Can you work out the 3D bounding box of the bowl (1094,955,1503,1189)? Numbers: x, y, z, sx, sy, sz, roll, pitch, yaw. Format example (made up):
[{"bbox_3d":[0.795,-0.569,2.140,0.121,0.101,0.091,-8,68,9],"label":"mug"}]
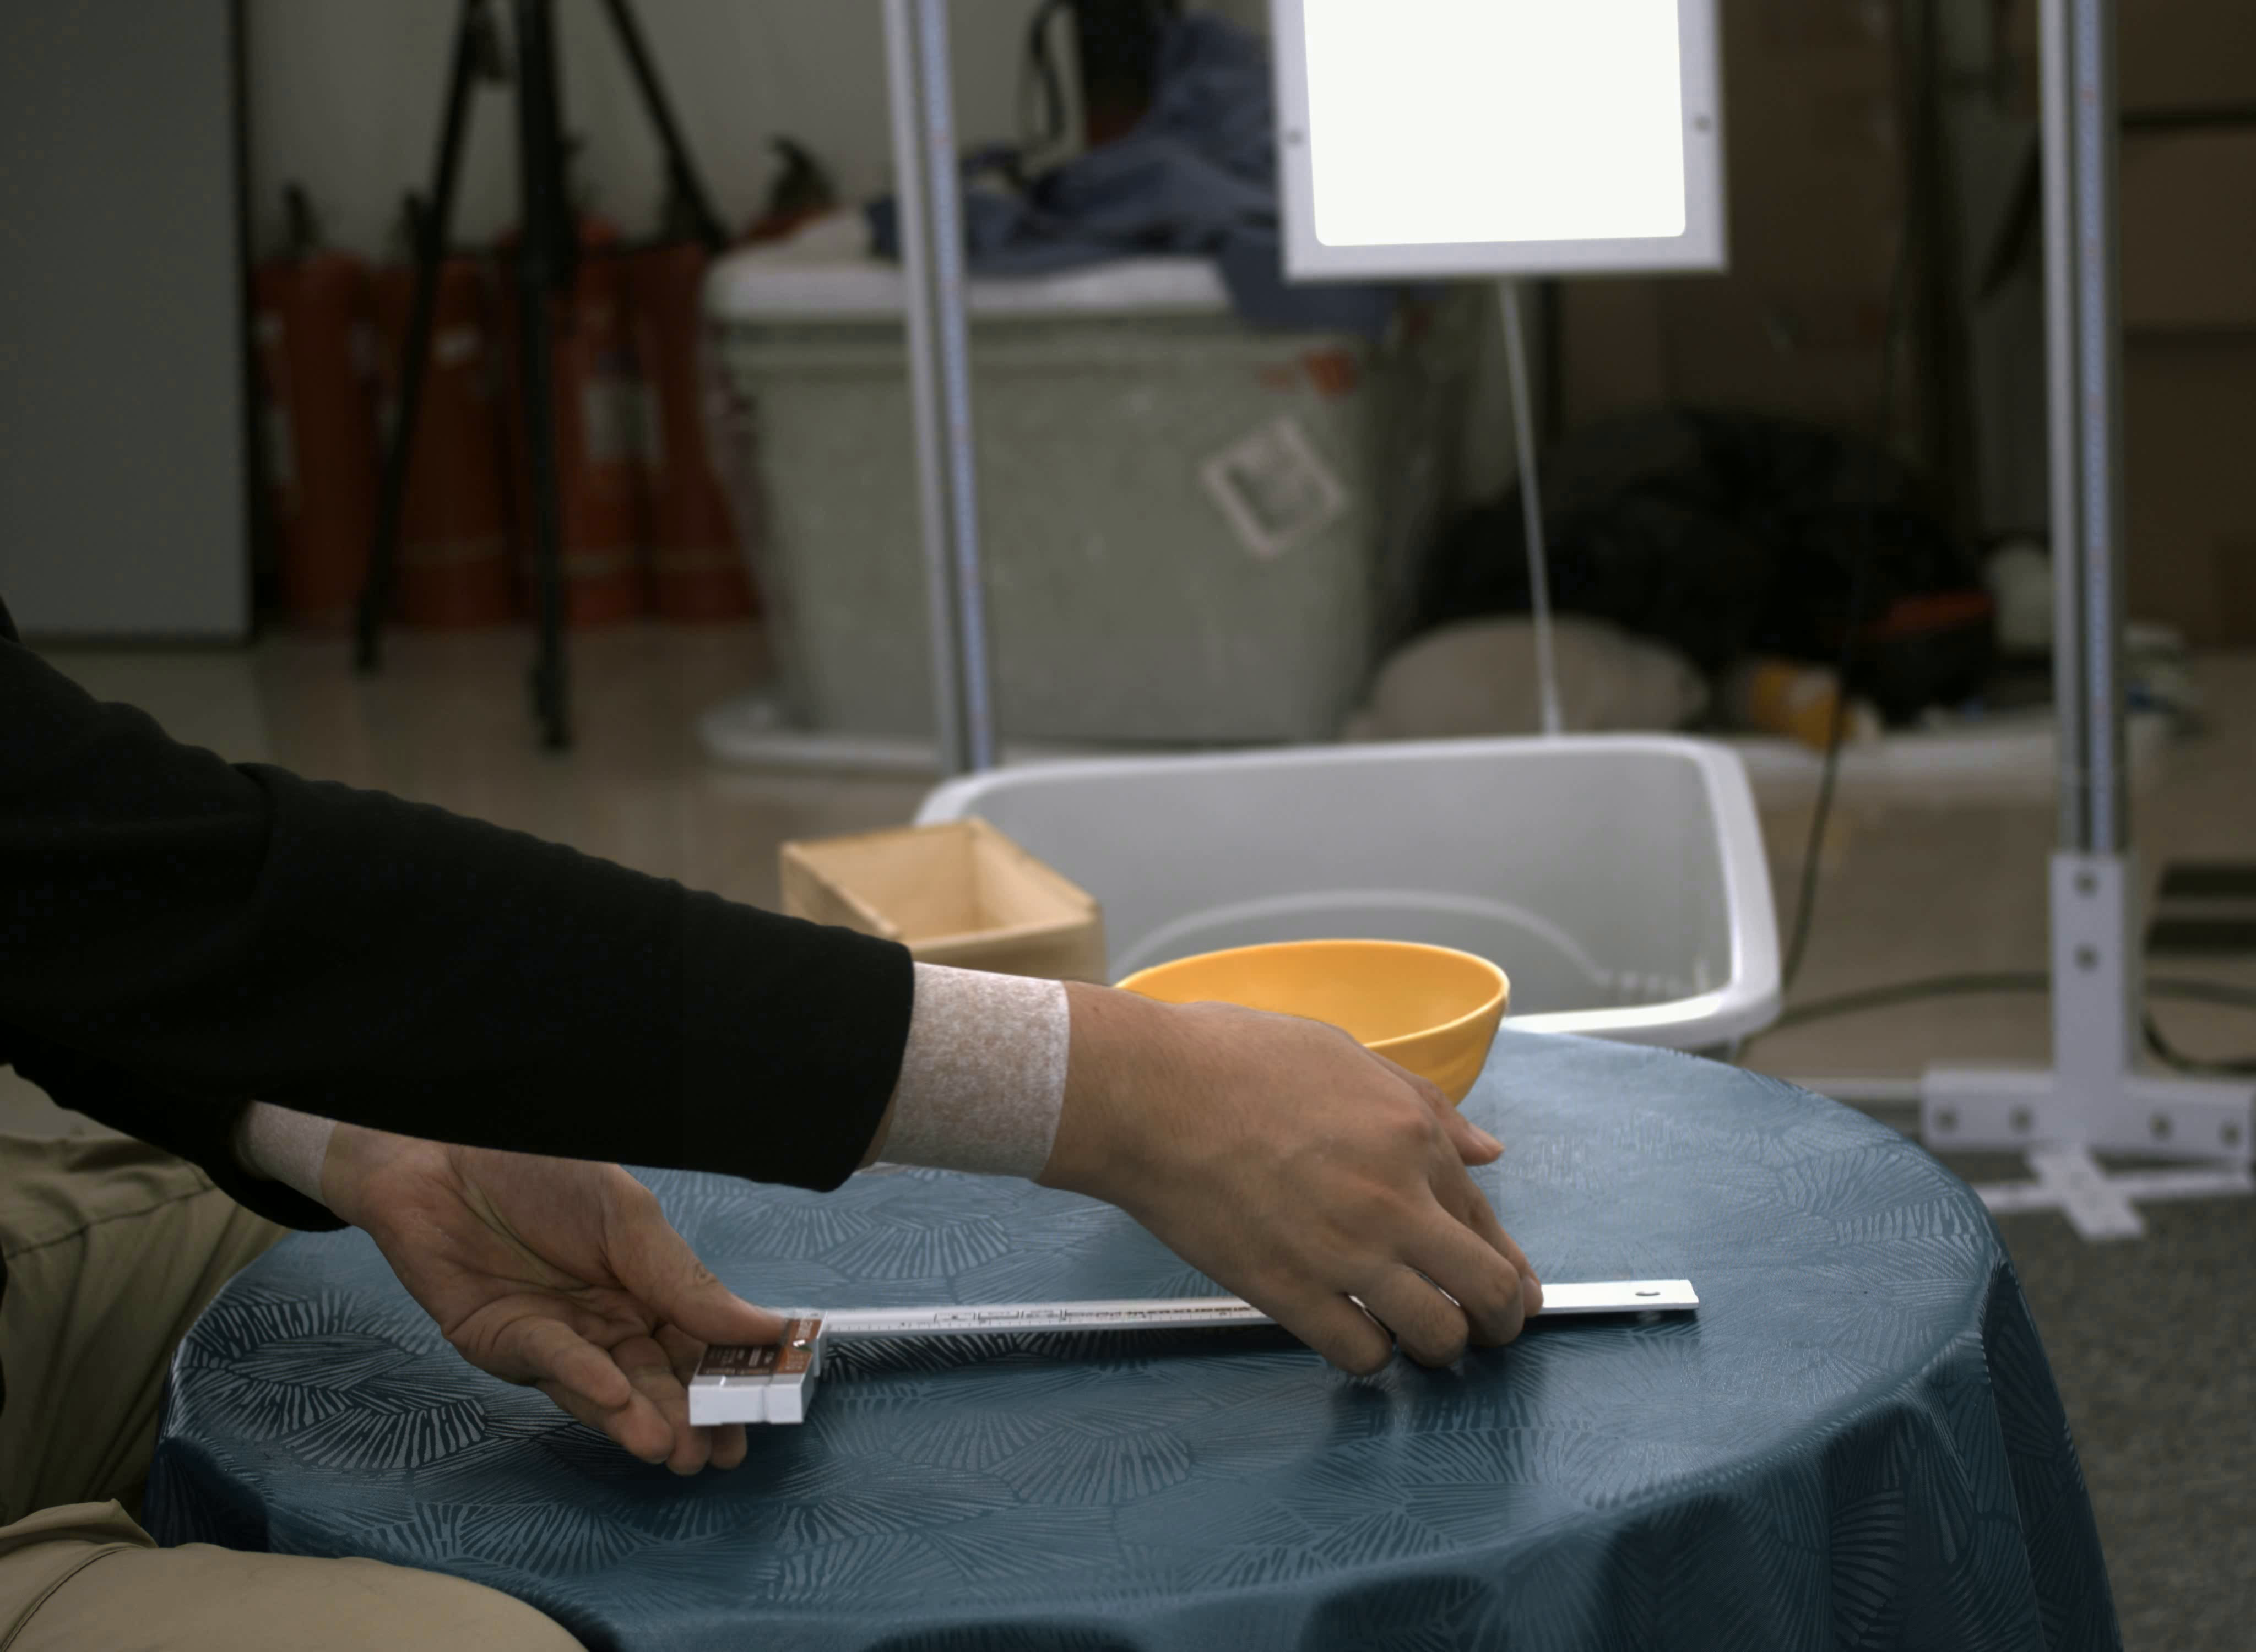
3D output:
[{"bbox_3d":[0.062,0.089,1.914,0.145,0.060,0.145,-7,11,0],"label":"bowl"}]

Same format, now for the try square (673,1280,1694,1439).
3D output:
[{"bbox_3d":[0.022,0.160,1.692,0.313,0.016,0.151,-2,8,3],"label":"try square"}]
